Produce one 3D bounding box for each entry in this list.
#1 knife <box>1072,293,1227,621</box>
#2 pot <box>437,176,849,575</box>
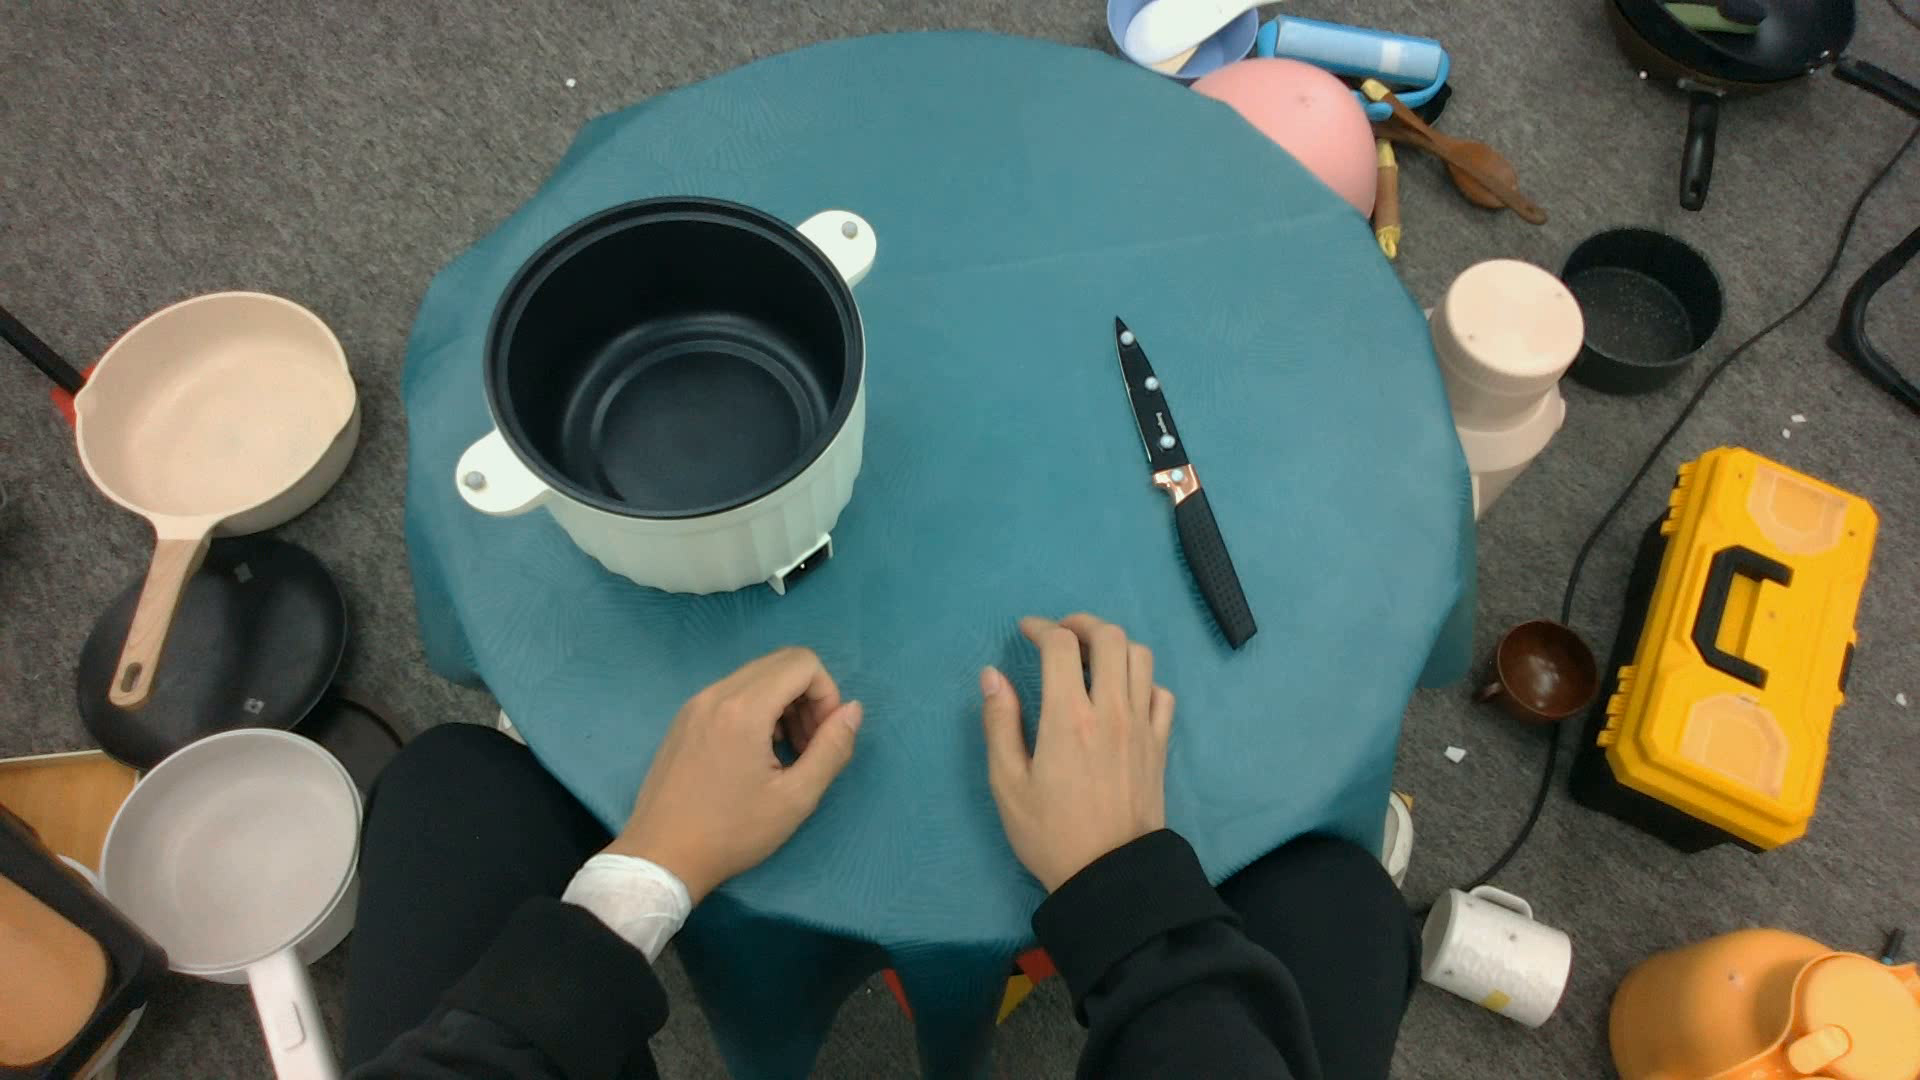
[{"bbox_3d":[0.108,-0.054,0.802,0.026,0.017,0.226,-20,67,4],"label":"knife"},{"bbox_3d":[-0.157,-0.079,0.724,0.241,0.142,0.190,-40,78,-20],"label":"pot"}]
